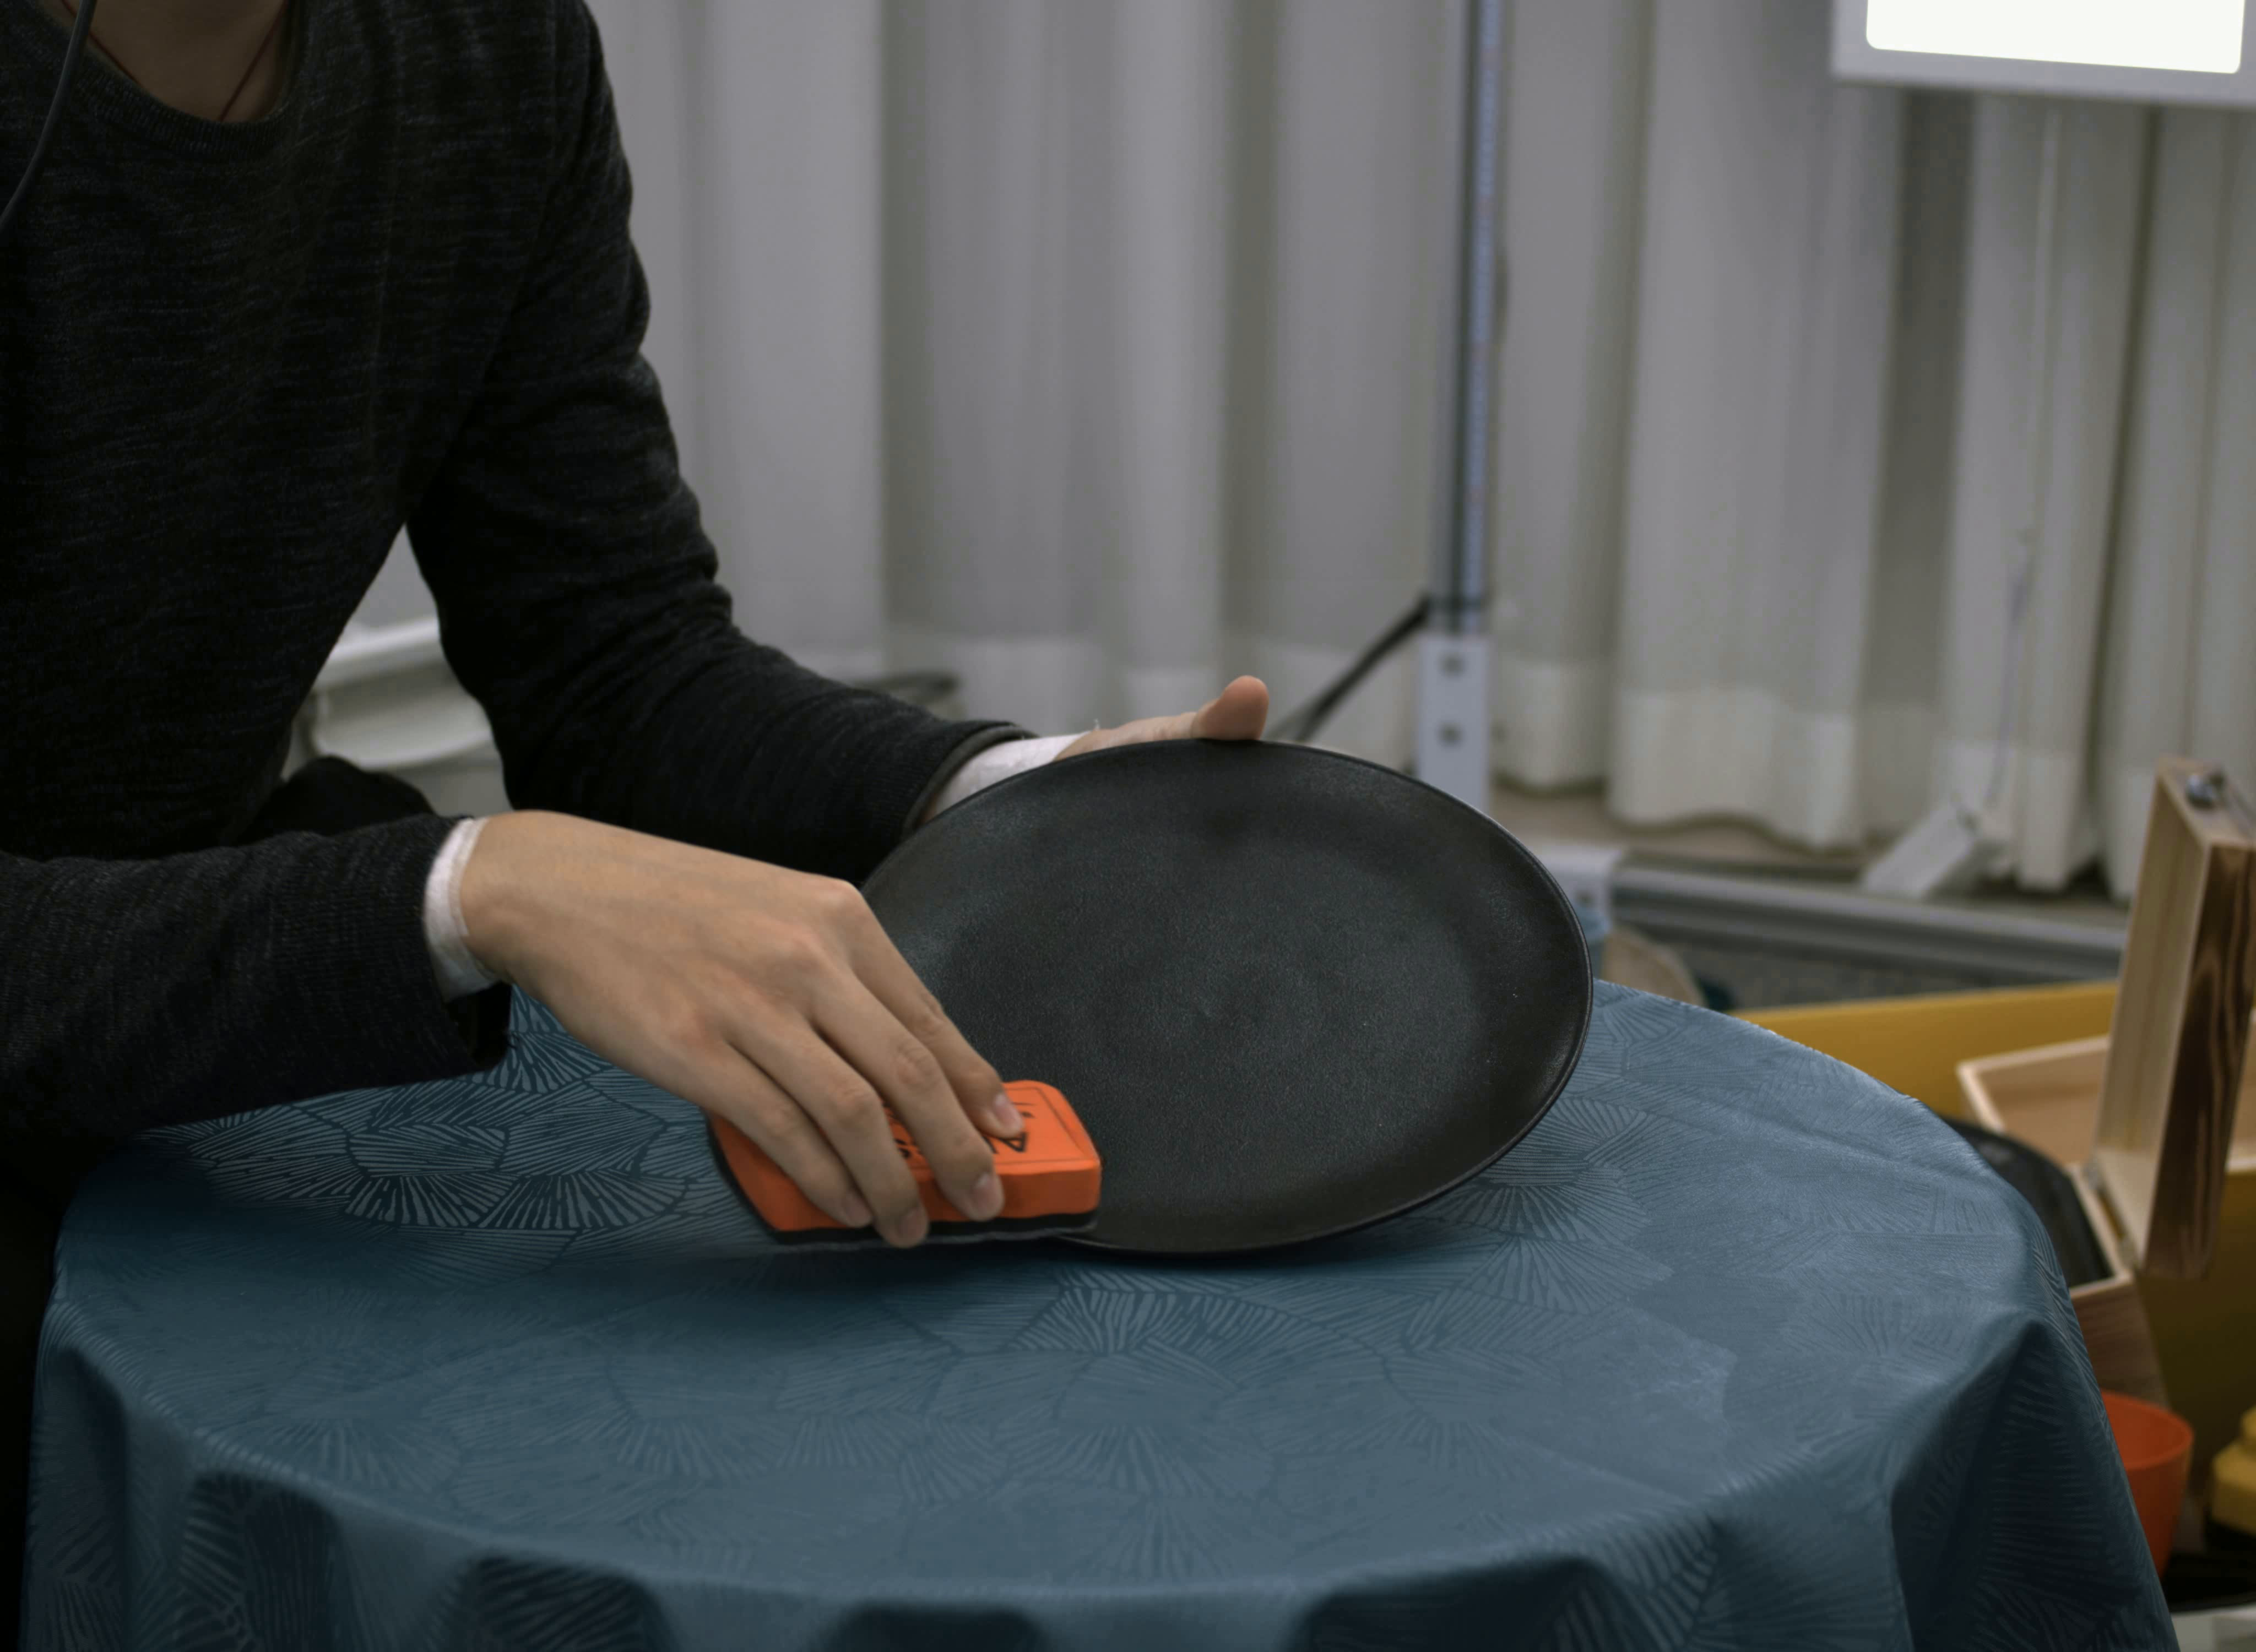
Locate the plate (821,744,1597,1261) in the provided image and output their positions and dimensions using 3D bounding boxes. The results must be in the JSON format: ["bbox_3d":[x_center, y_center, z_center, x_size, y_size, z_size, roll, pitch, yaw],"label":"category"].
[{"bbox_3d":[0.026,0.057,1.649,0.243,0.024,0.242,-1,40,1],"label":"plate"}]

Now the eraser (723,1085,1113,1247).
[{"bbox_3d":[-0.062,0.100,1.560,0.108,0.023,0.058,-1,25,-21],"label":"eraser"}]
